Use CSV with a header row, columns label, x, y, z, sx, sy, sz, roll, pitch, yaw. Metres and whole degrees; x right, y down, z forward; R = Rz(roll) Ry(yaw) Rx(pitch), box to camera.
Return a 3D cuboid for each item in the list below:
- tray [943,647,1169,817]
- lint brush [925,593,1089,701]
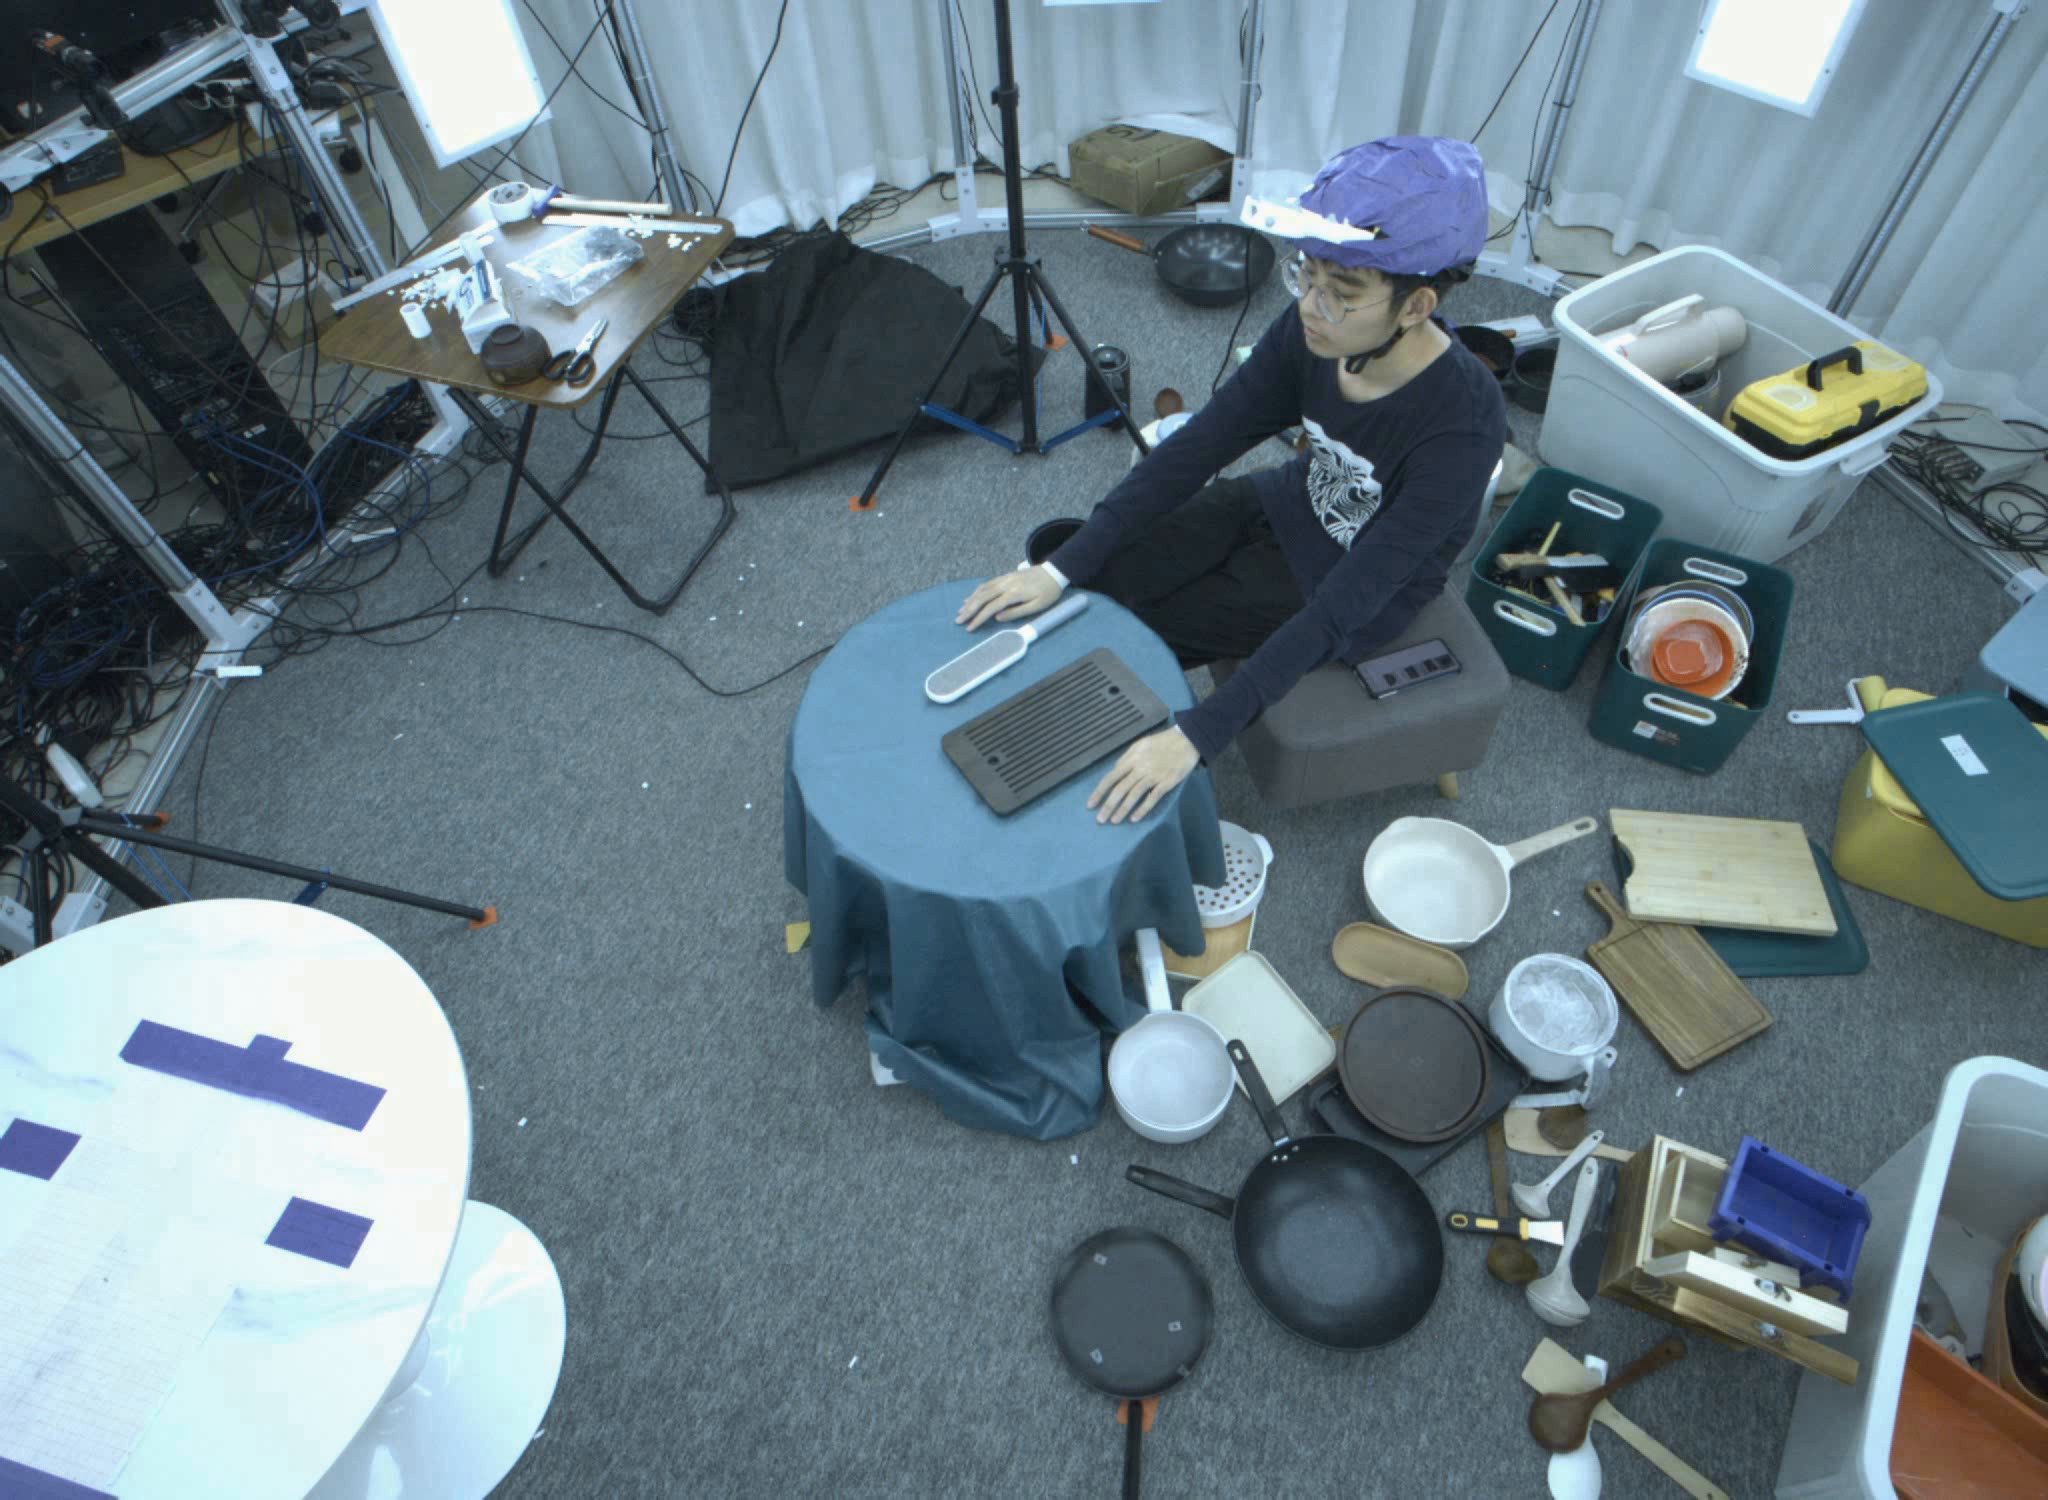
label,x,y,z,sx,sy,sz,roll,pitch,yaw
tray,0.048,-0.030,1.804,0.308,0.019,0.167,-31,59,-19
lint brush,-0.022,-0.163,1.896,0.311,0.021,0.059,-33,55,-21
